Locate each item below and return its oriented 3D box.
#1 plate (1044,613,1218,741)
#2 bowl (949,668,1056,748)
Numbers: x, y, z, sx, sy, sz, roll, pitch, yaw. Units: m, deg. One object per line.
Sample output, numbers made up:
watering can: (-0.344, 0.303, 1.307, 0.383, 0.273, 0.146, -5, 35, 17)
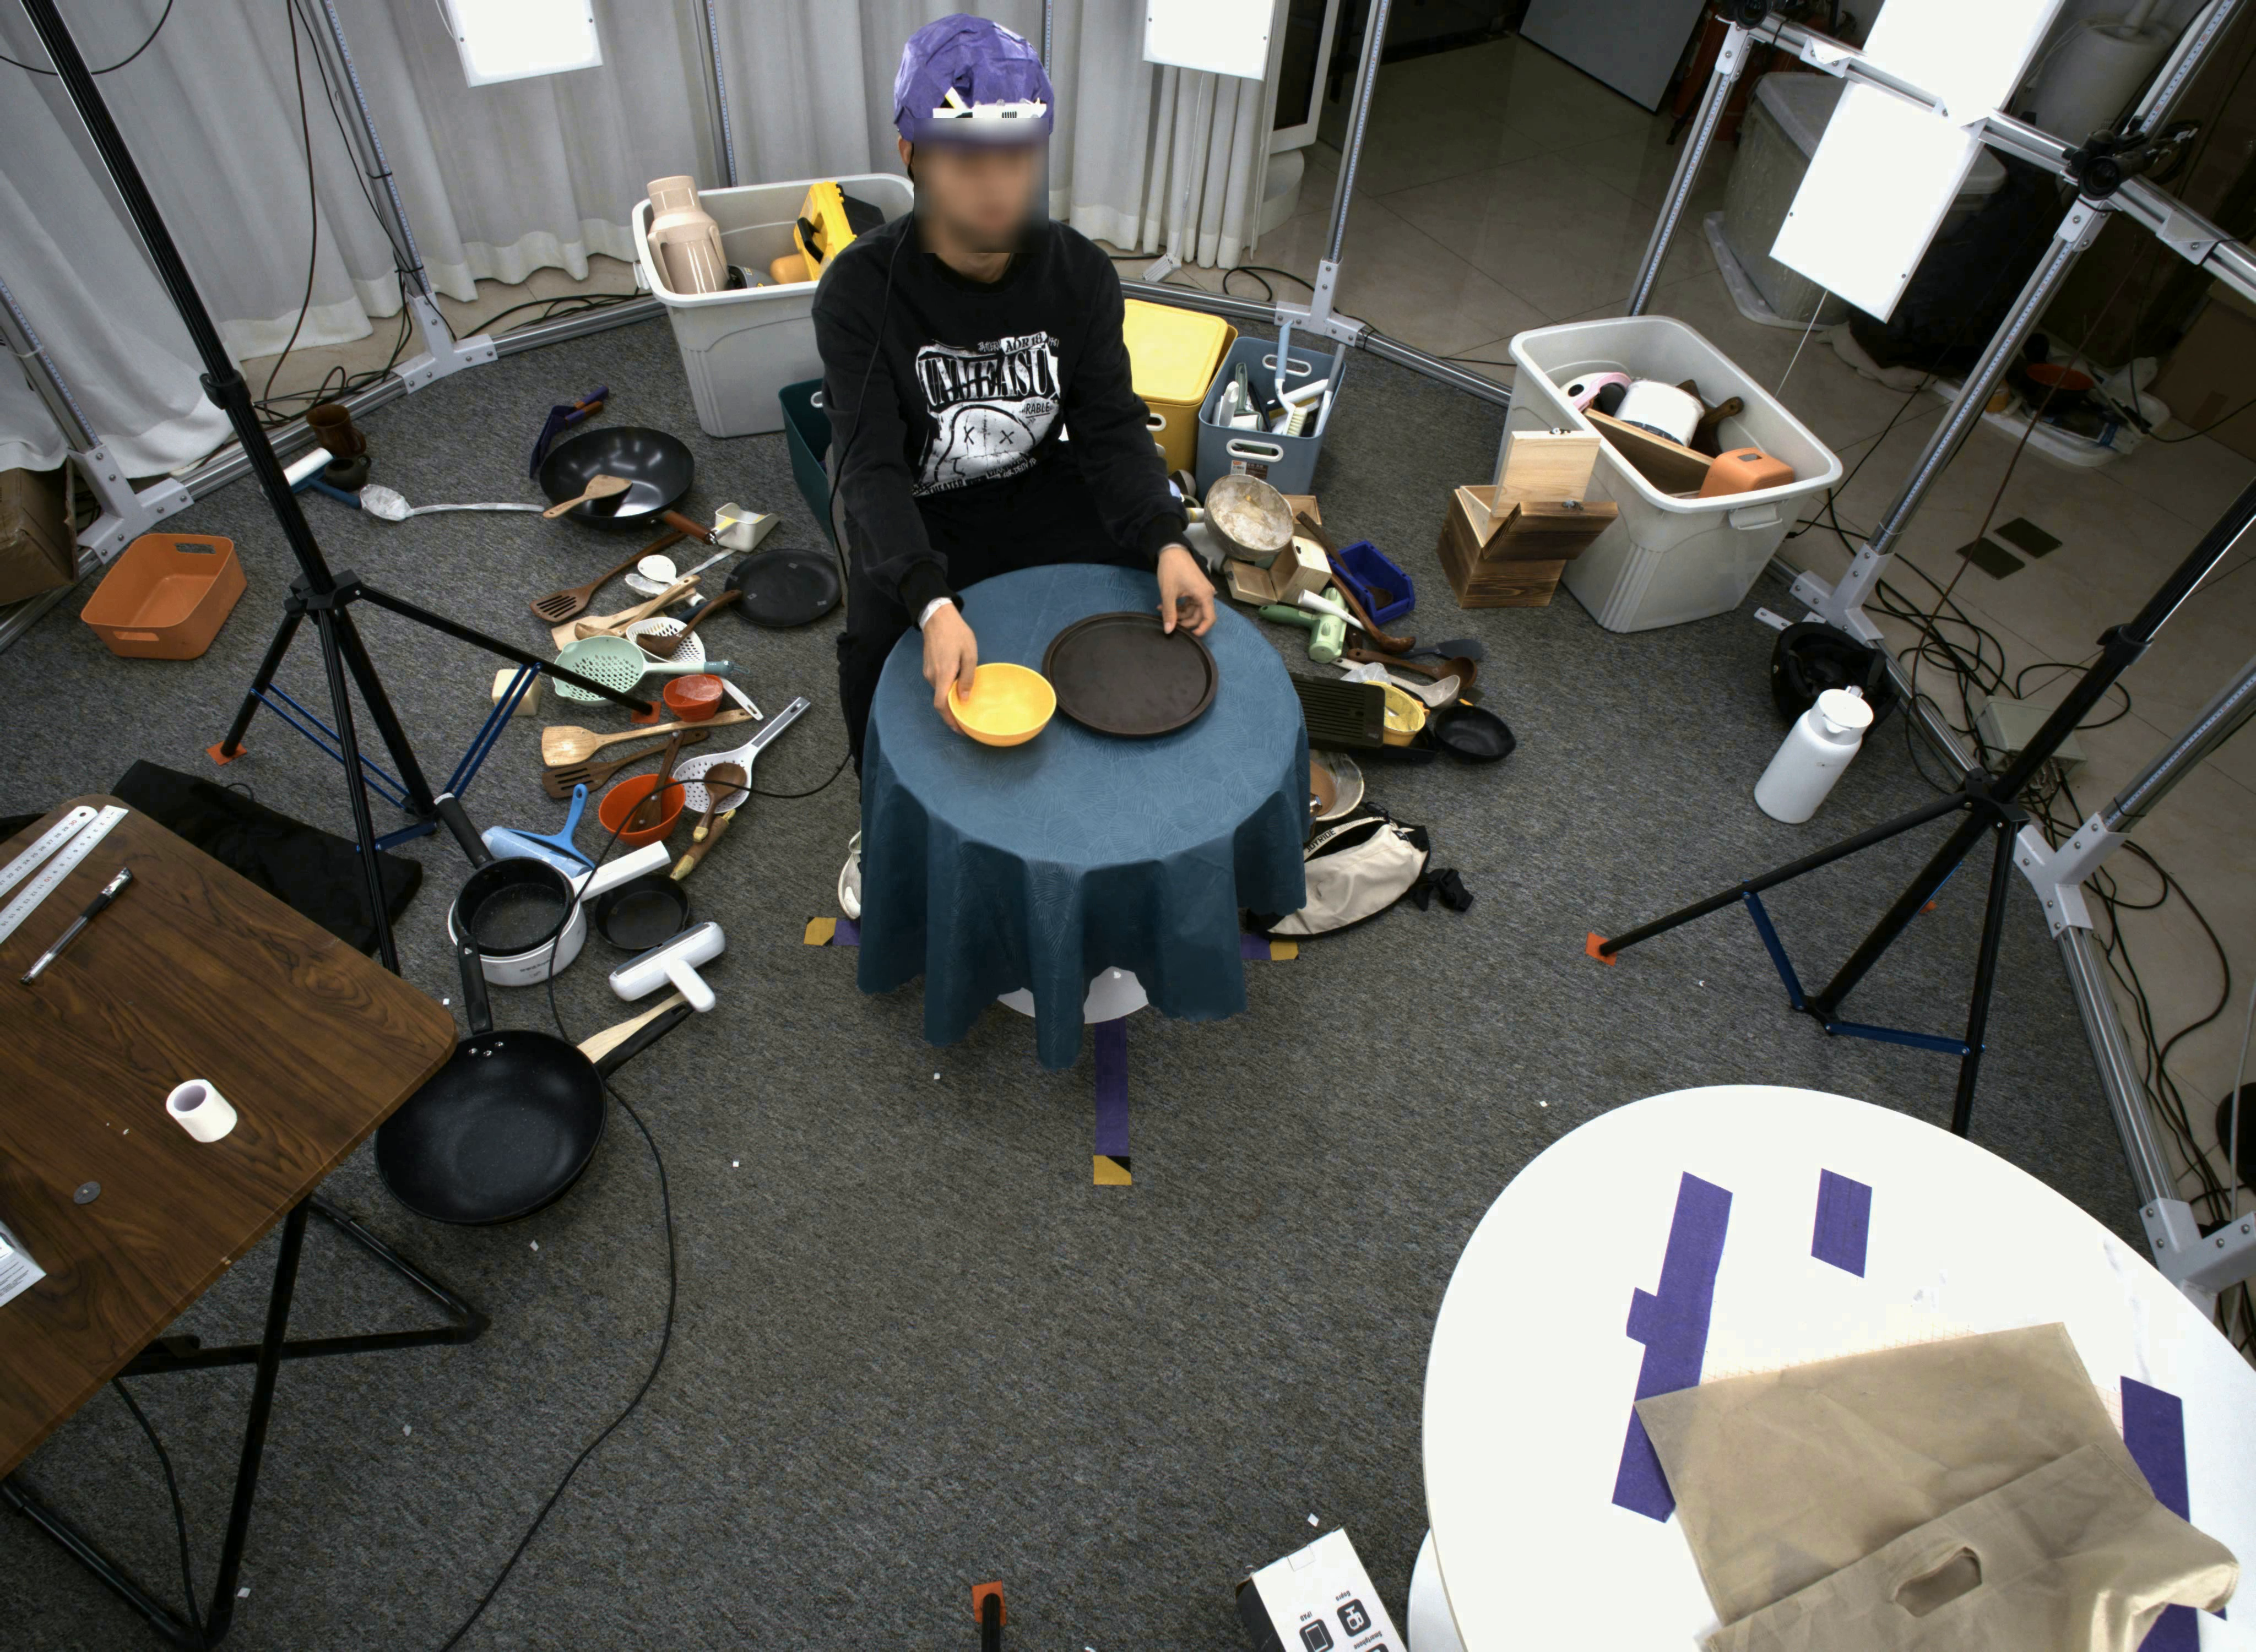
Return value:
plate: (0.004, -0.217, 1.859, 0.254, 0.028, 0.261, 1, 49, -1)
bowl: (-0.173, -0.151, 1.765, 0.145, 0.058, 0.149, 3, 43, -3)
